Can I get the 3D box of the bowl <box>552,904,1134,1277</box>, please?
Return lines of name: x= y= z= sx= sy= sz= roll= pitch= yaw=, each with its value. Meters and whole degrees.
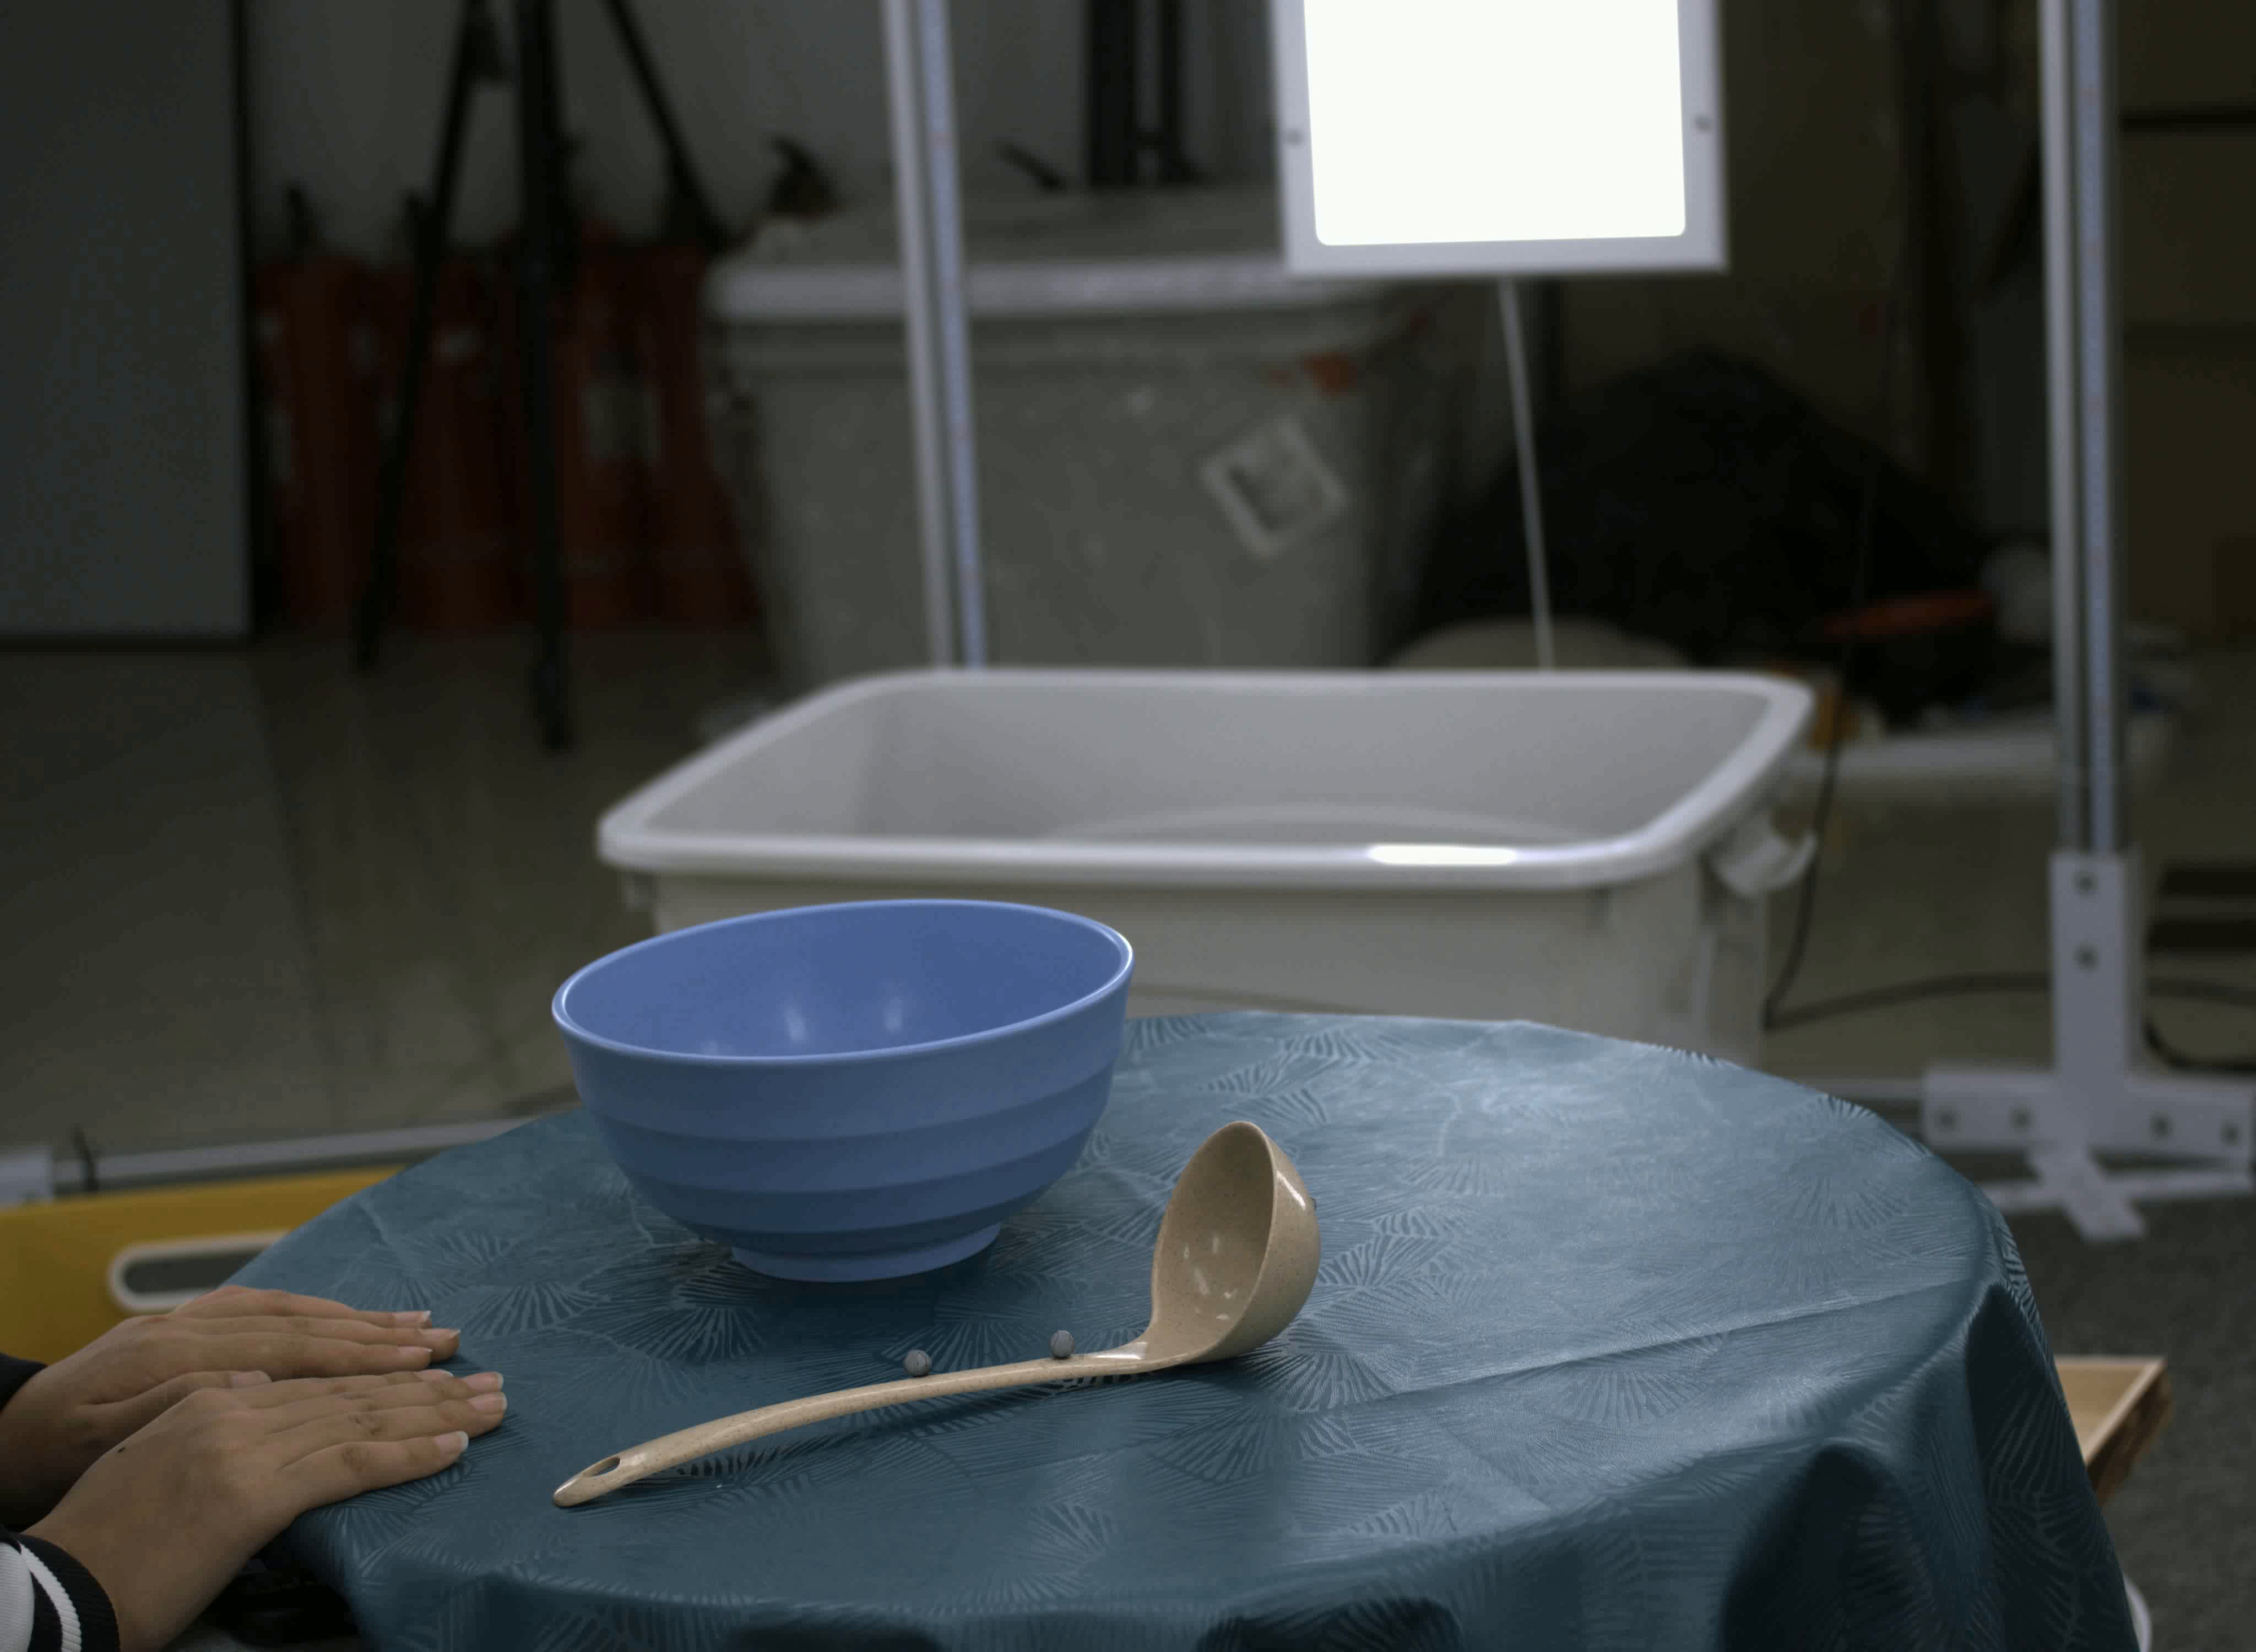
bowl: x=-0.094 y=0.094 z=1.861 sx=0.196 sy=0.096 sz=0.196 roll=-3 pitch=12 yaw=-1

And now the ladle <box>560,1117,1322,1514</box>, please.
ladle: x=-0.059 y=0.147 z=1.684 sx=0.249 sy=0.073 sz=0.073 roll=-11 pitch=14 yaw=-23
